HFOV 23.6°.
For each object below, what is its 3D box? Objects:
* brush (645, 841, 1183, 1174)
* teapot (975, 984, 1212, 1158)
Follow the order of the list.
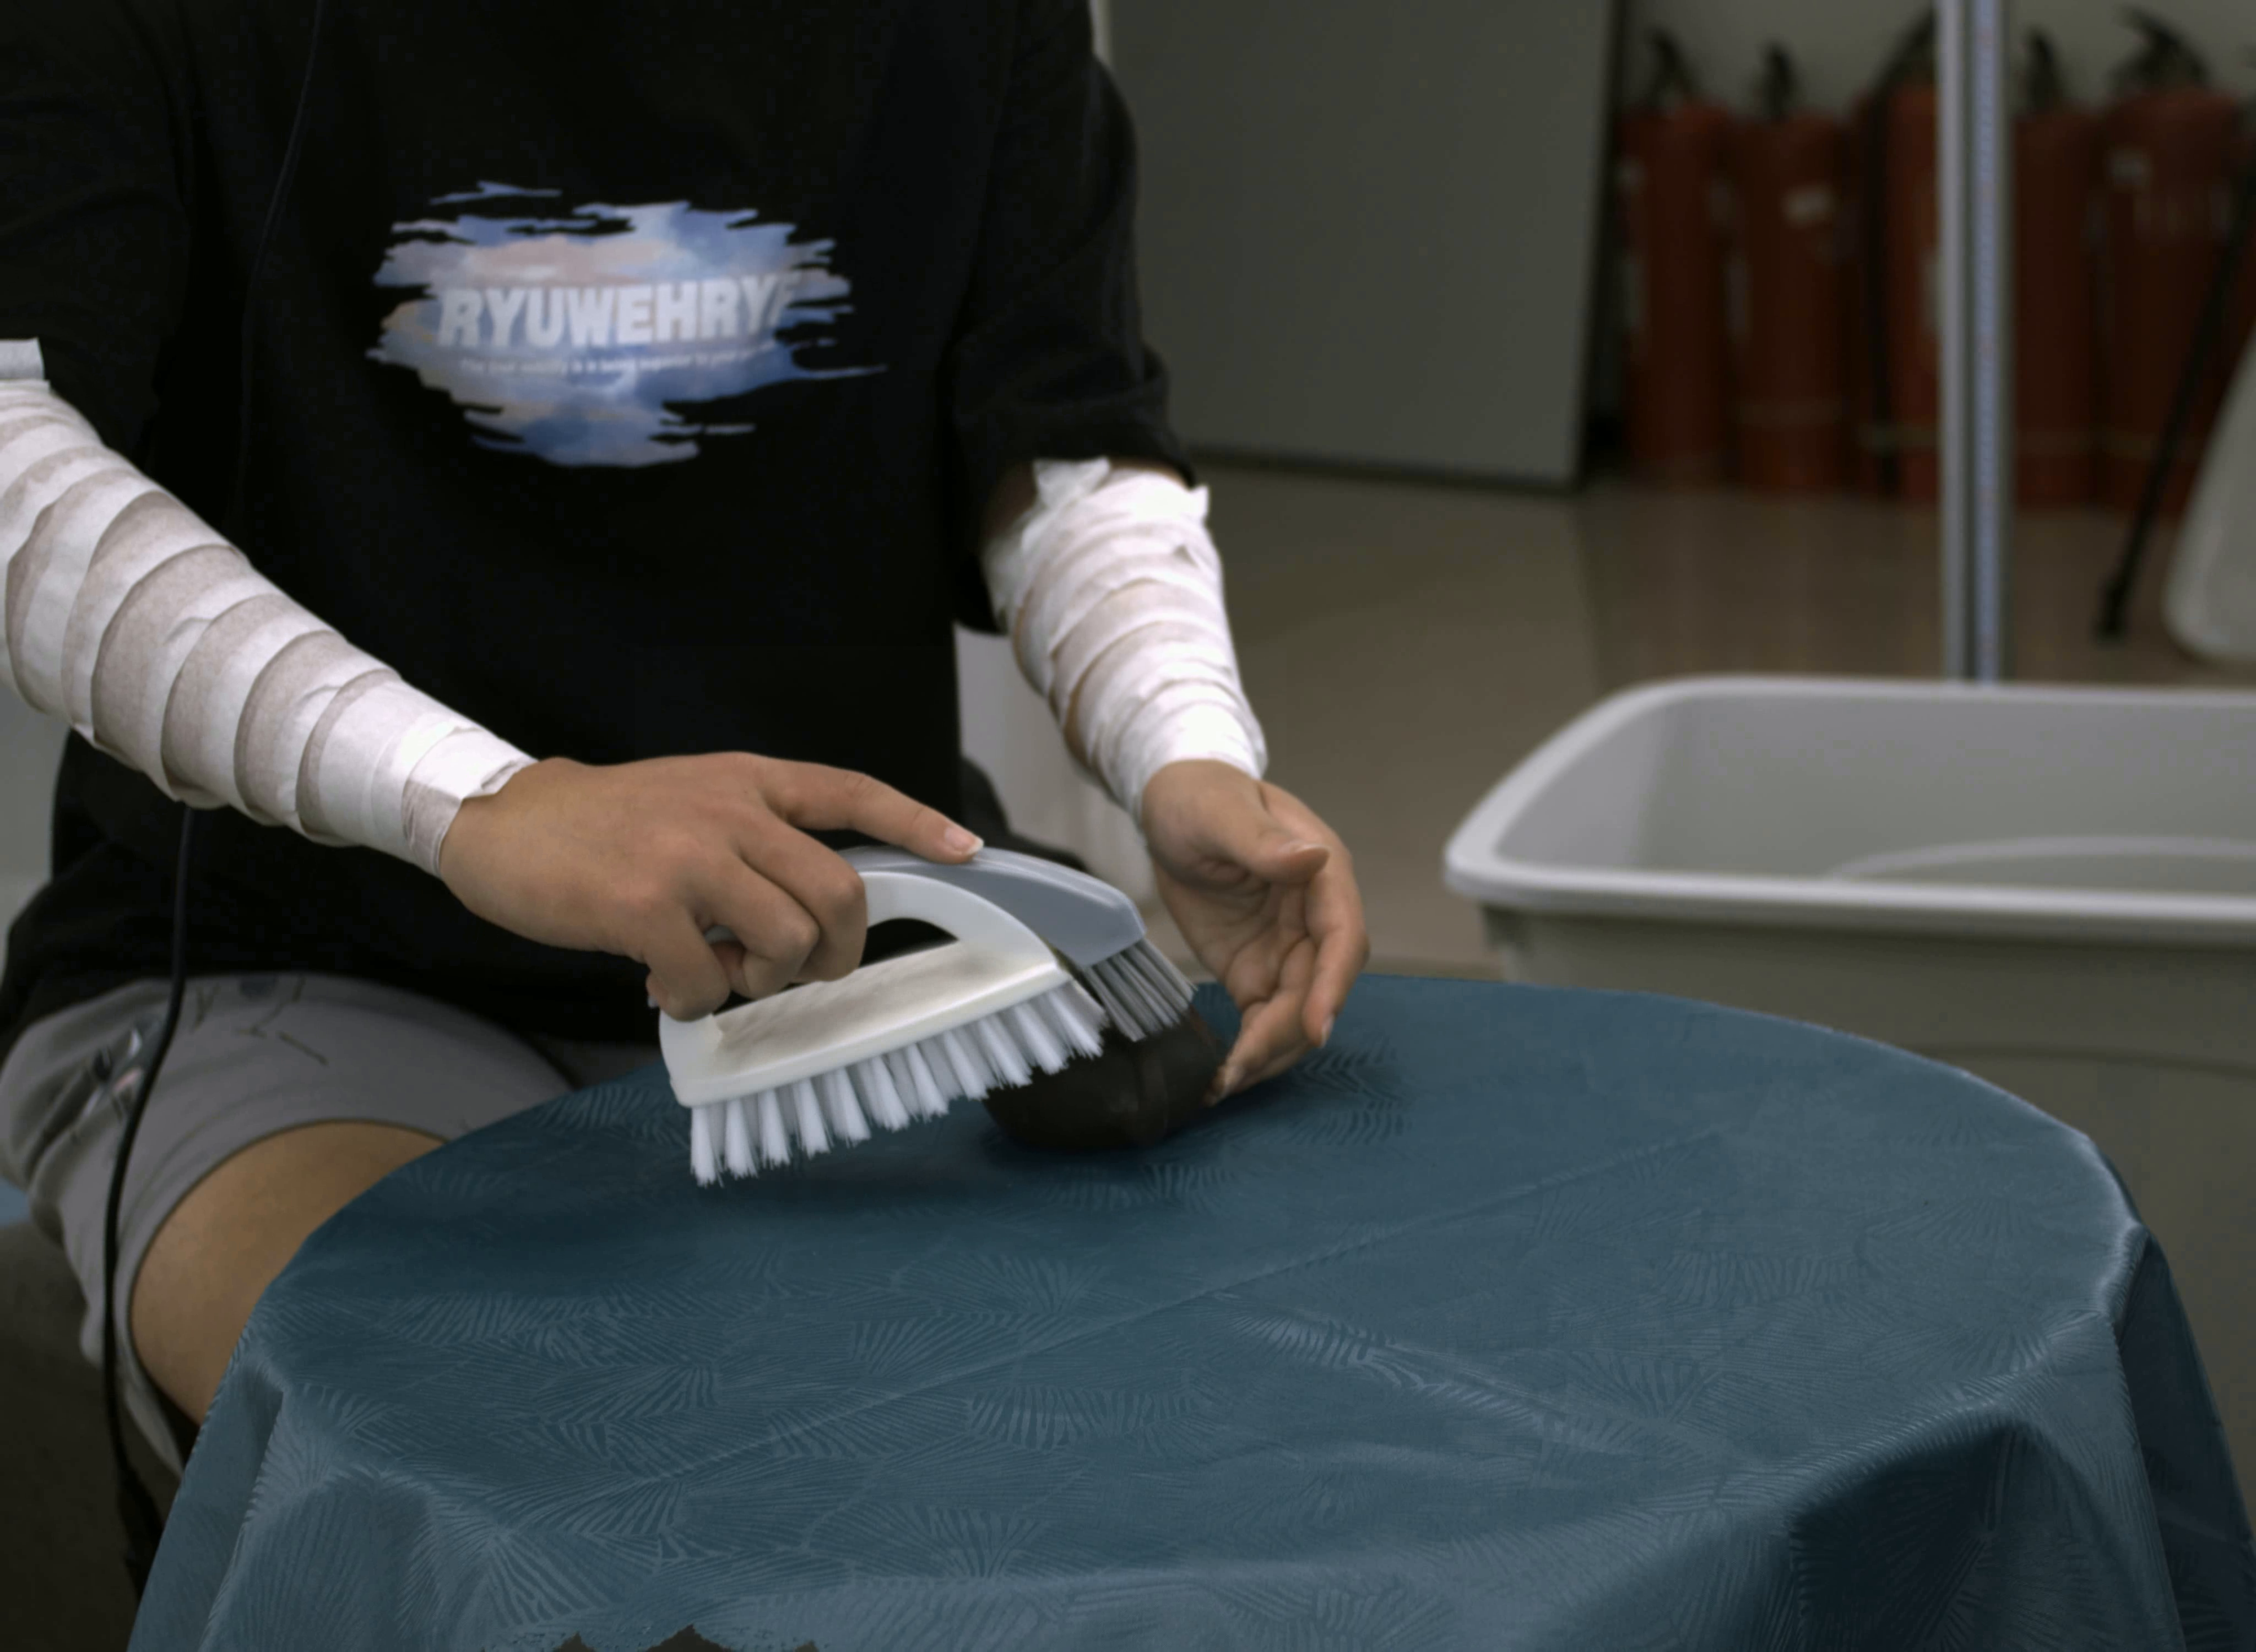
[{"bbox_3d":[-0.076,0.046,1.781,0.174,0.094,0.061,-16,25,9],"label":"brush"},{"bbox_3d":[-0.008,0.082,1.828,0.081,0.053,0.115,-8,12,-15],"label":"teapot"}]
